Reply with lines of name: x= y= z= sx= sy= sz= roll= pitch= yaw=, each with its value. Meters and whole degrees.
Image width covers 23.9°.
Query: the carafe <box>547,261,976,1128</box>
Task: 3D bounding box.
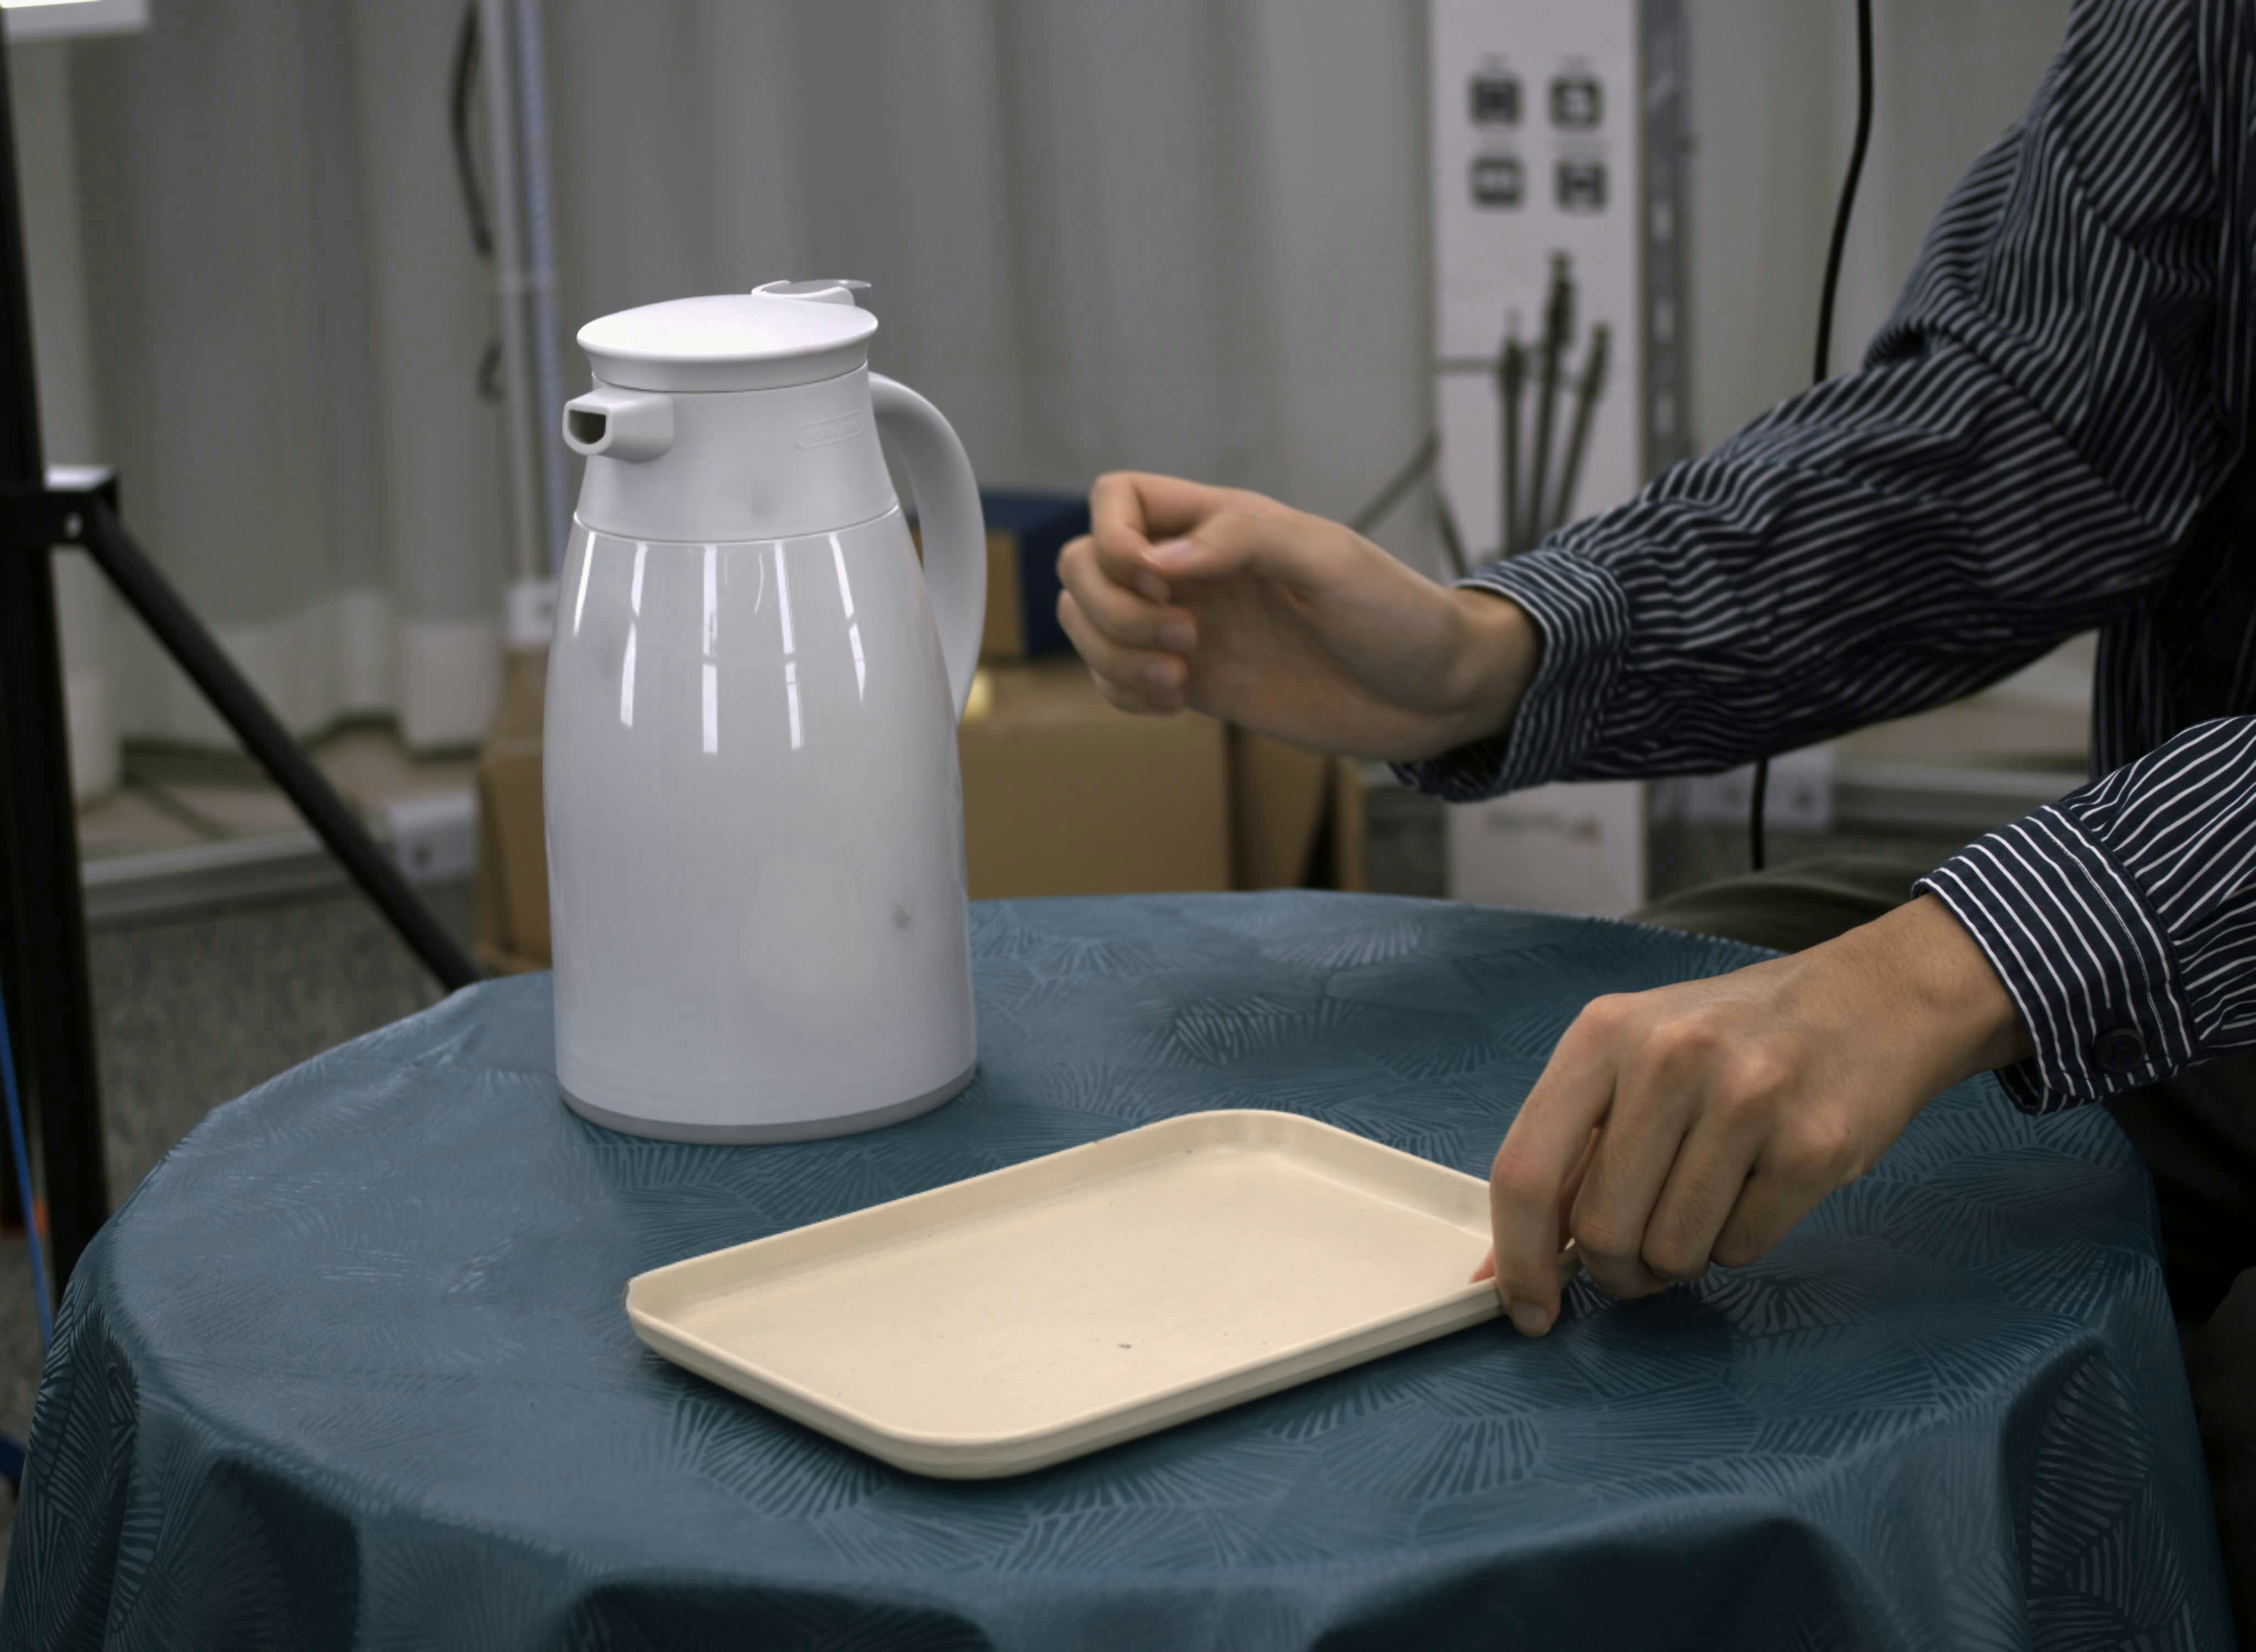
carafe: x=-0.107 y=-0.049 z=1.667 sx=0.135 sy=0.249 sz=0.164 roll=8 pitch=17 yaw=35

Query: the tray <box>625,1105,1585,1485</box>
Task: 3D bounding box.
tray: x=-0.005 y=0.128 z=1.463 sx=0.234 sy=0.017 sz=0.175 roll=-14 pitch=20 yaw=-35
